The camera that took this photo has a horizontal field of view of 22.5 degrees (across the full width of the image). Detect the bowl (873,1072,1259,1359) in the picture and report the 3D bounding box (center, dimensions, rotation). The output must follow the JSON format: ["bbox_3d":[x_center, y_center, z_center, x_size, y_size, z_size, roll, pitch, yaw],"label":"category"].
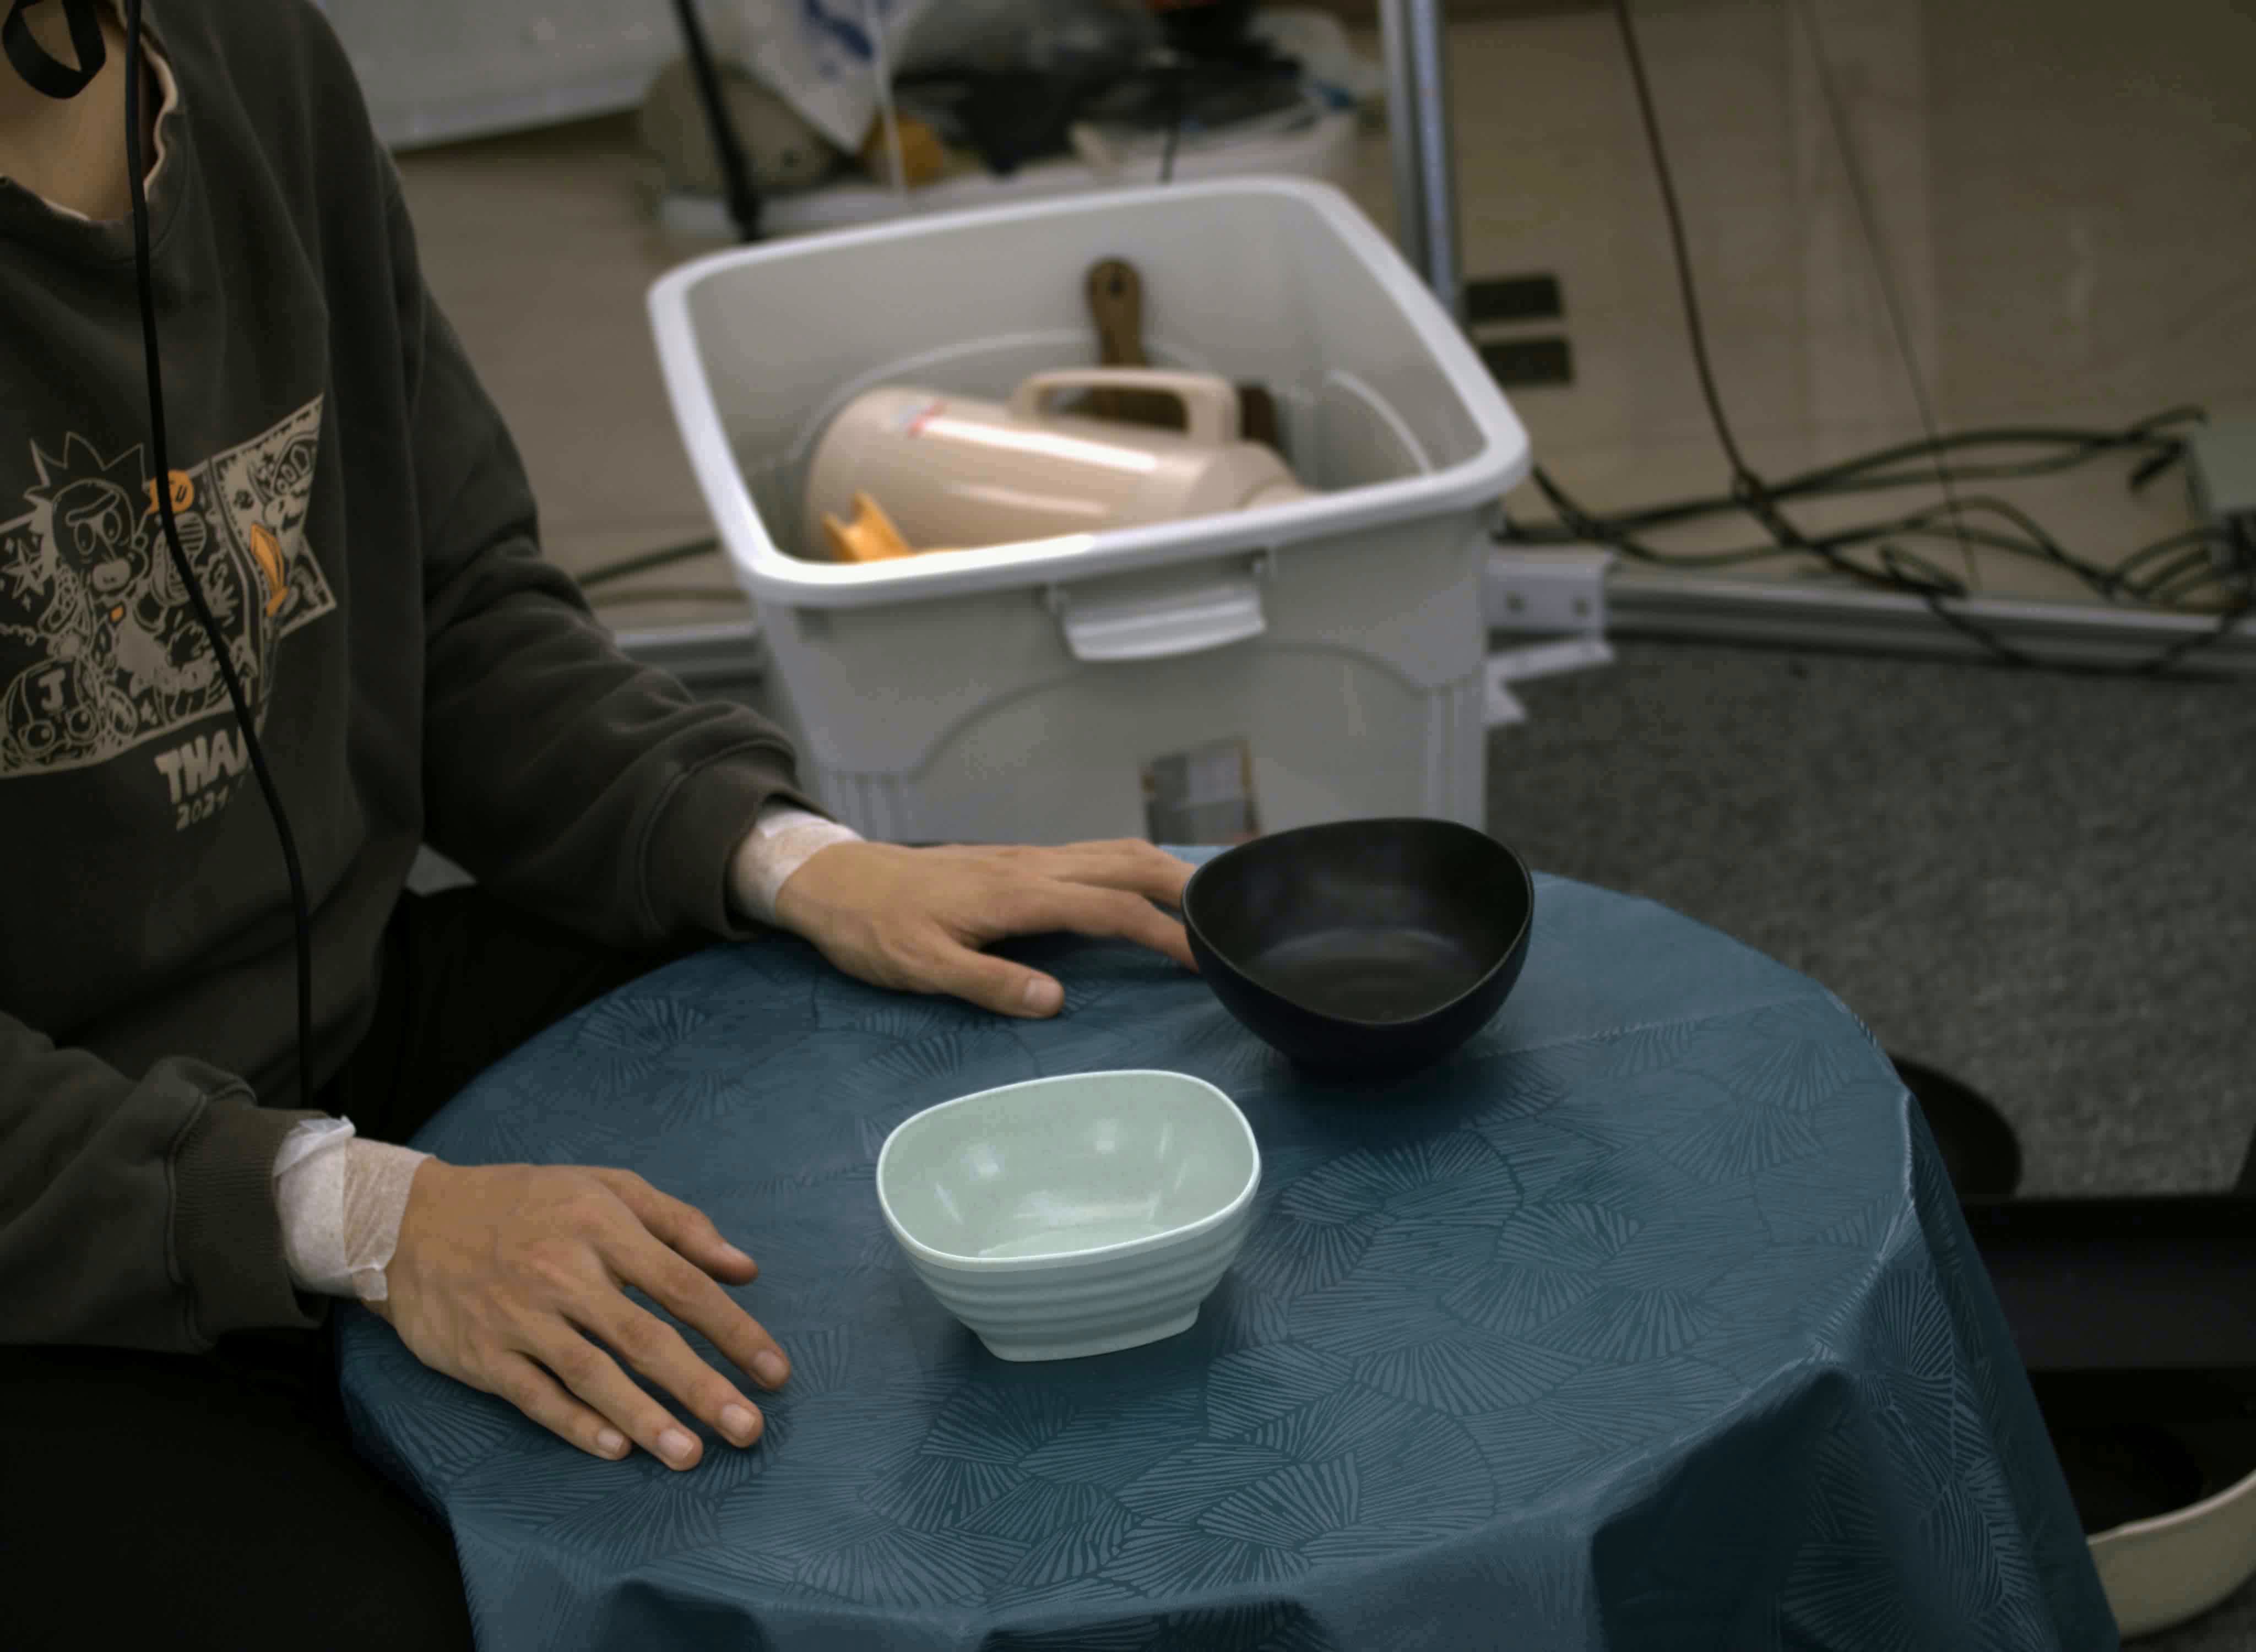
[{"bbox_3d":[-0.021,0.147,2.065,0.151,0.059,0.149,-3,25,2],"label":"bowl"}]

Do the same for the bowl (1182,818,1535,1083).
[{"bbox_3d":[0.094,0.056,2.226,0.137,0.068,0.168,-11,27,-8],"label":"bowl"}]
